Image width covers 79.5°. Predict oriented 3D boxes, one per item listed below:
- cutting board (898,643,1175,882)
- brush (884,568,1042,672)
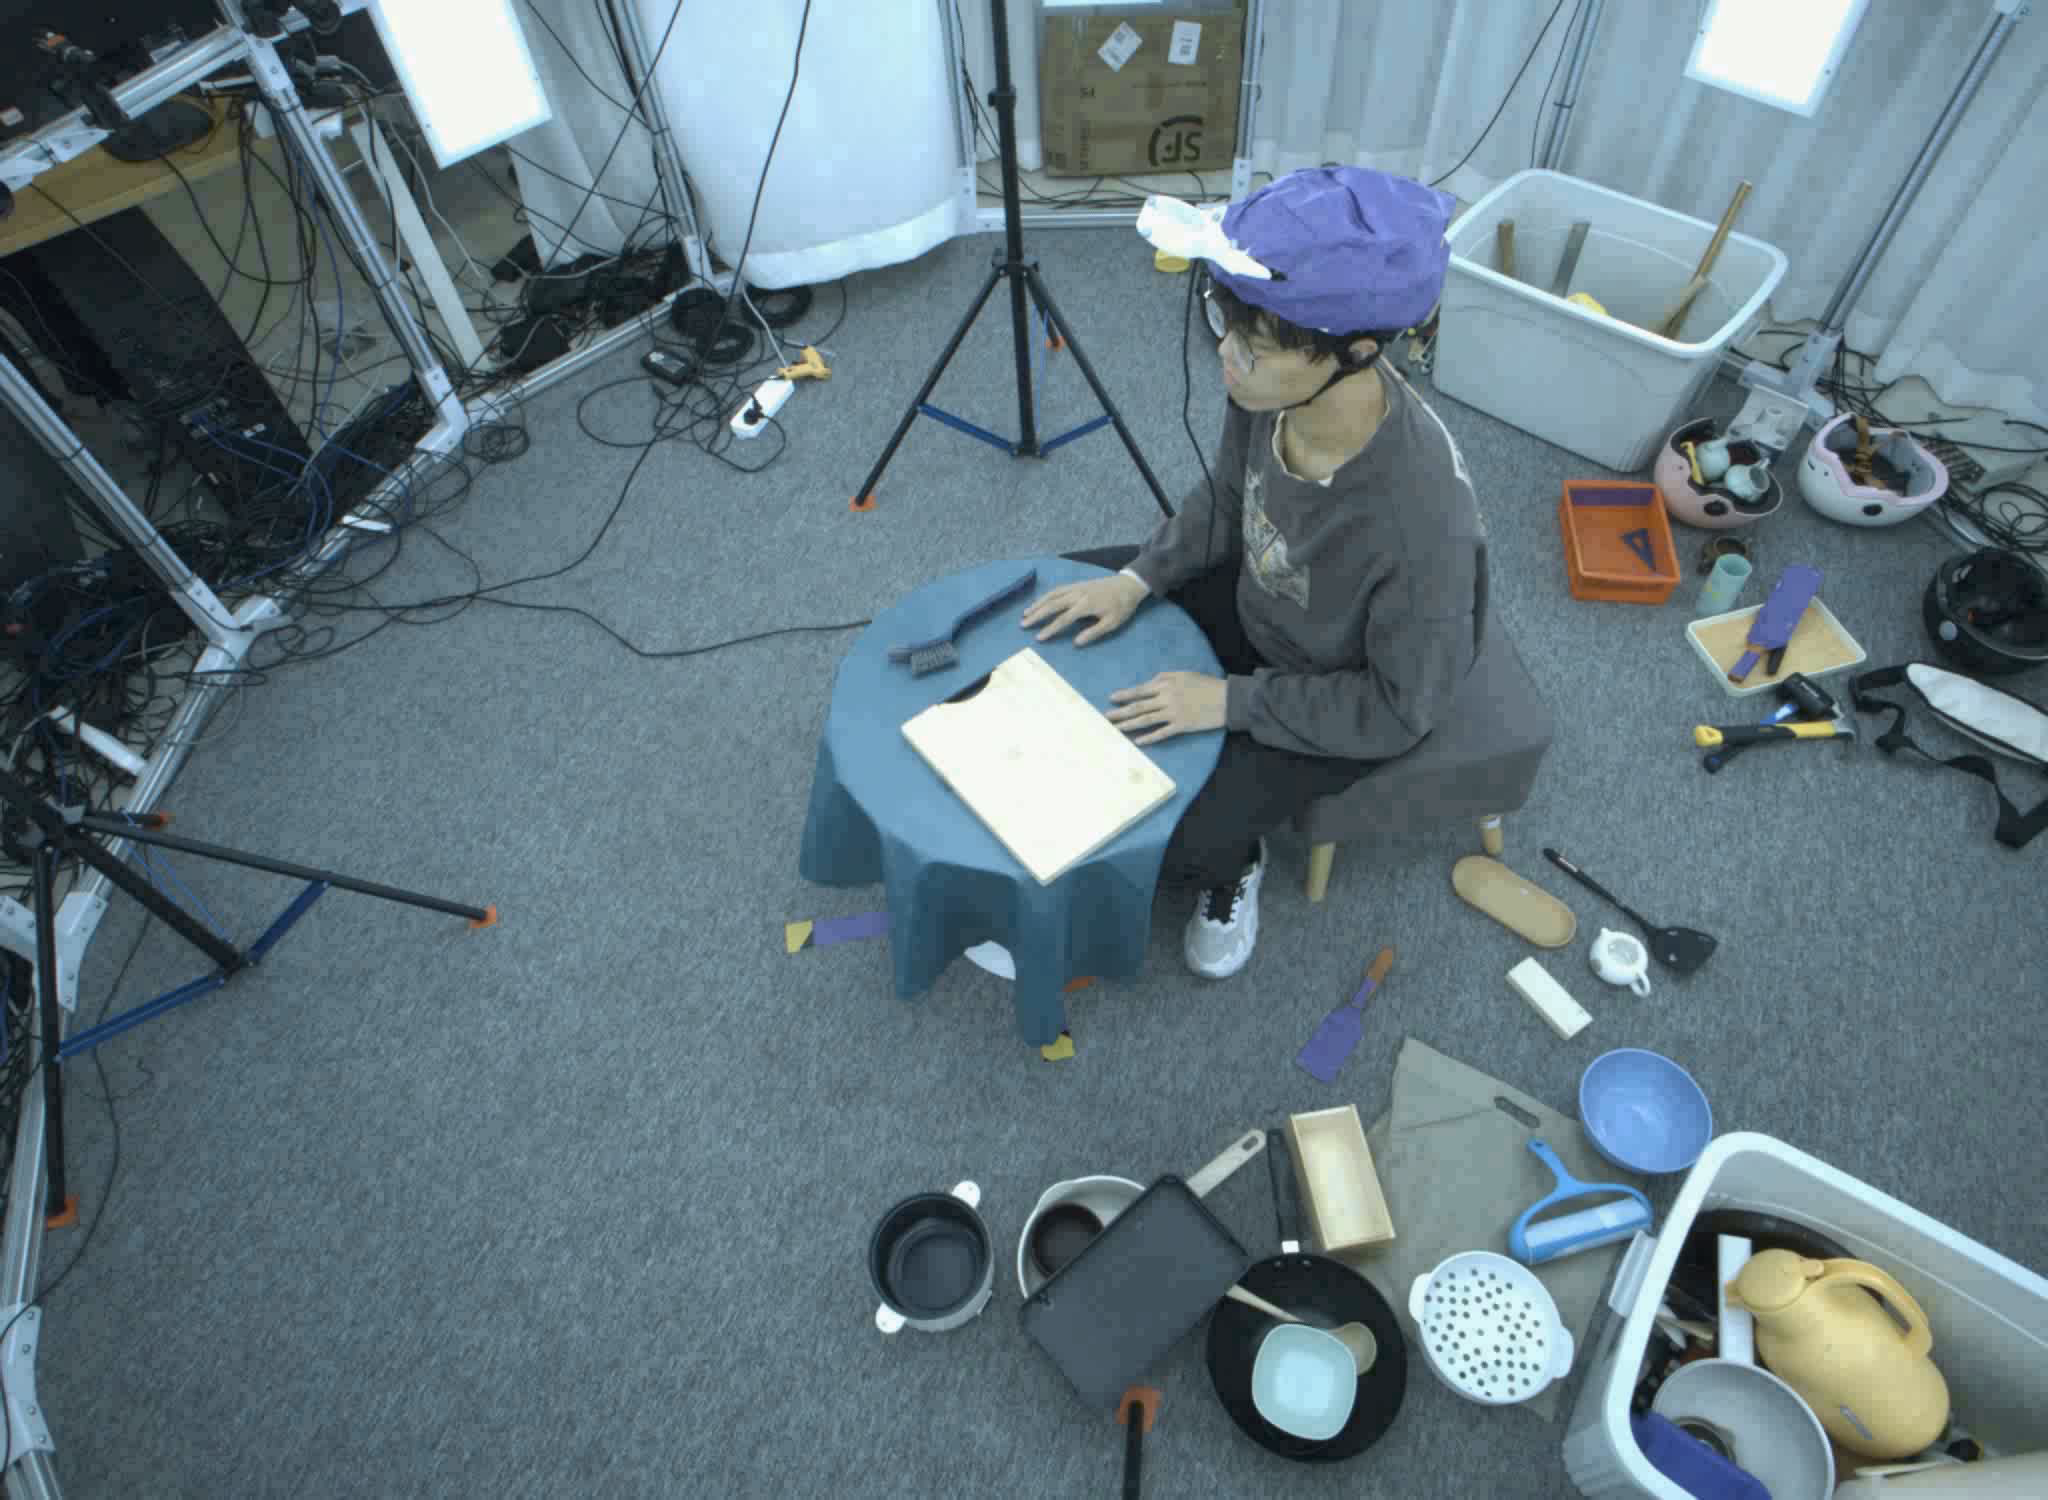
[{"bbox_3d":[0.013,0.009,1.768,0.253,0.024,0.342,-34,60,-21],"label":"cutting board"},{"bbox_3d":[-0.089,-0.213,1.922,0.094,0.034,0.275,38,65,25],"label":"brush"}]
